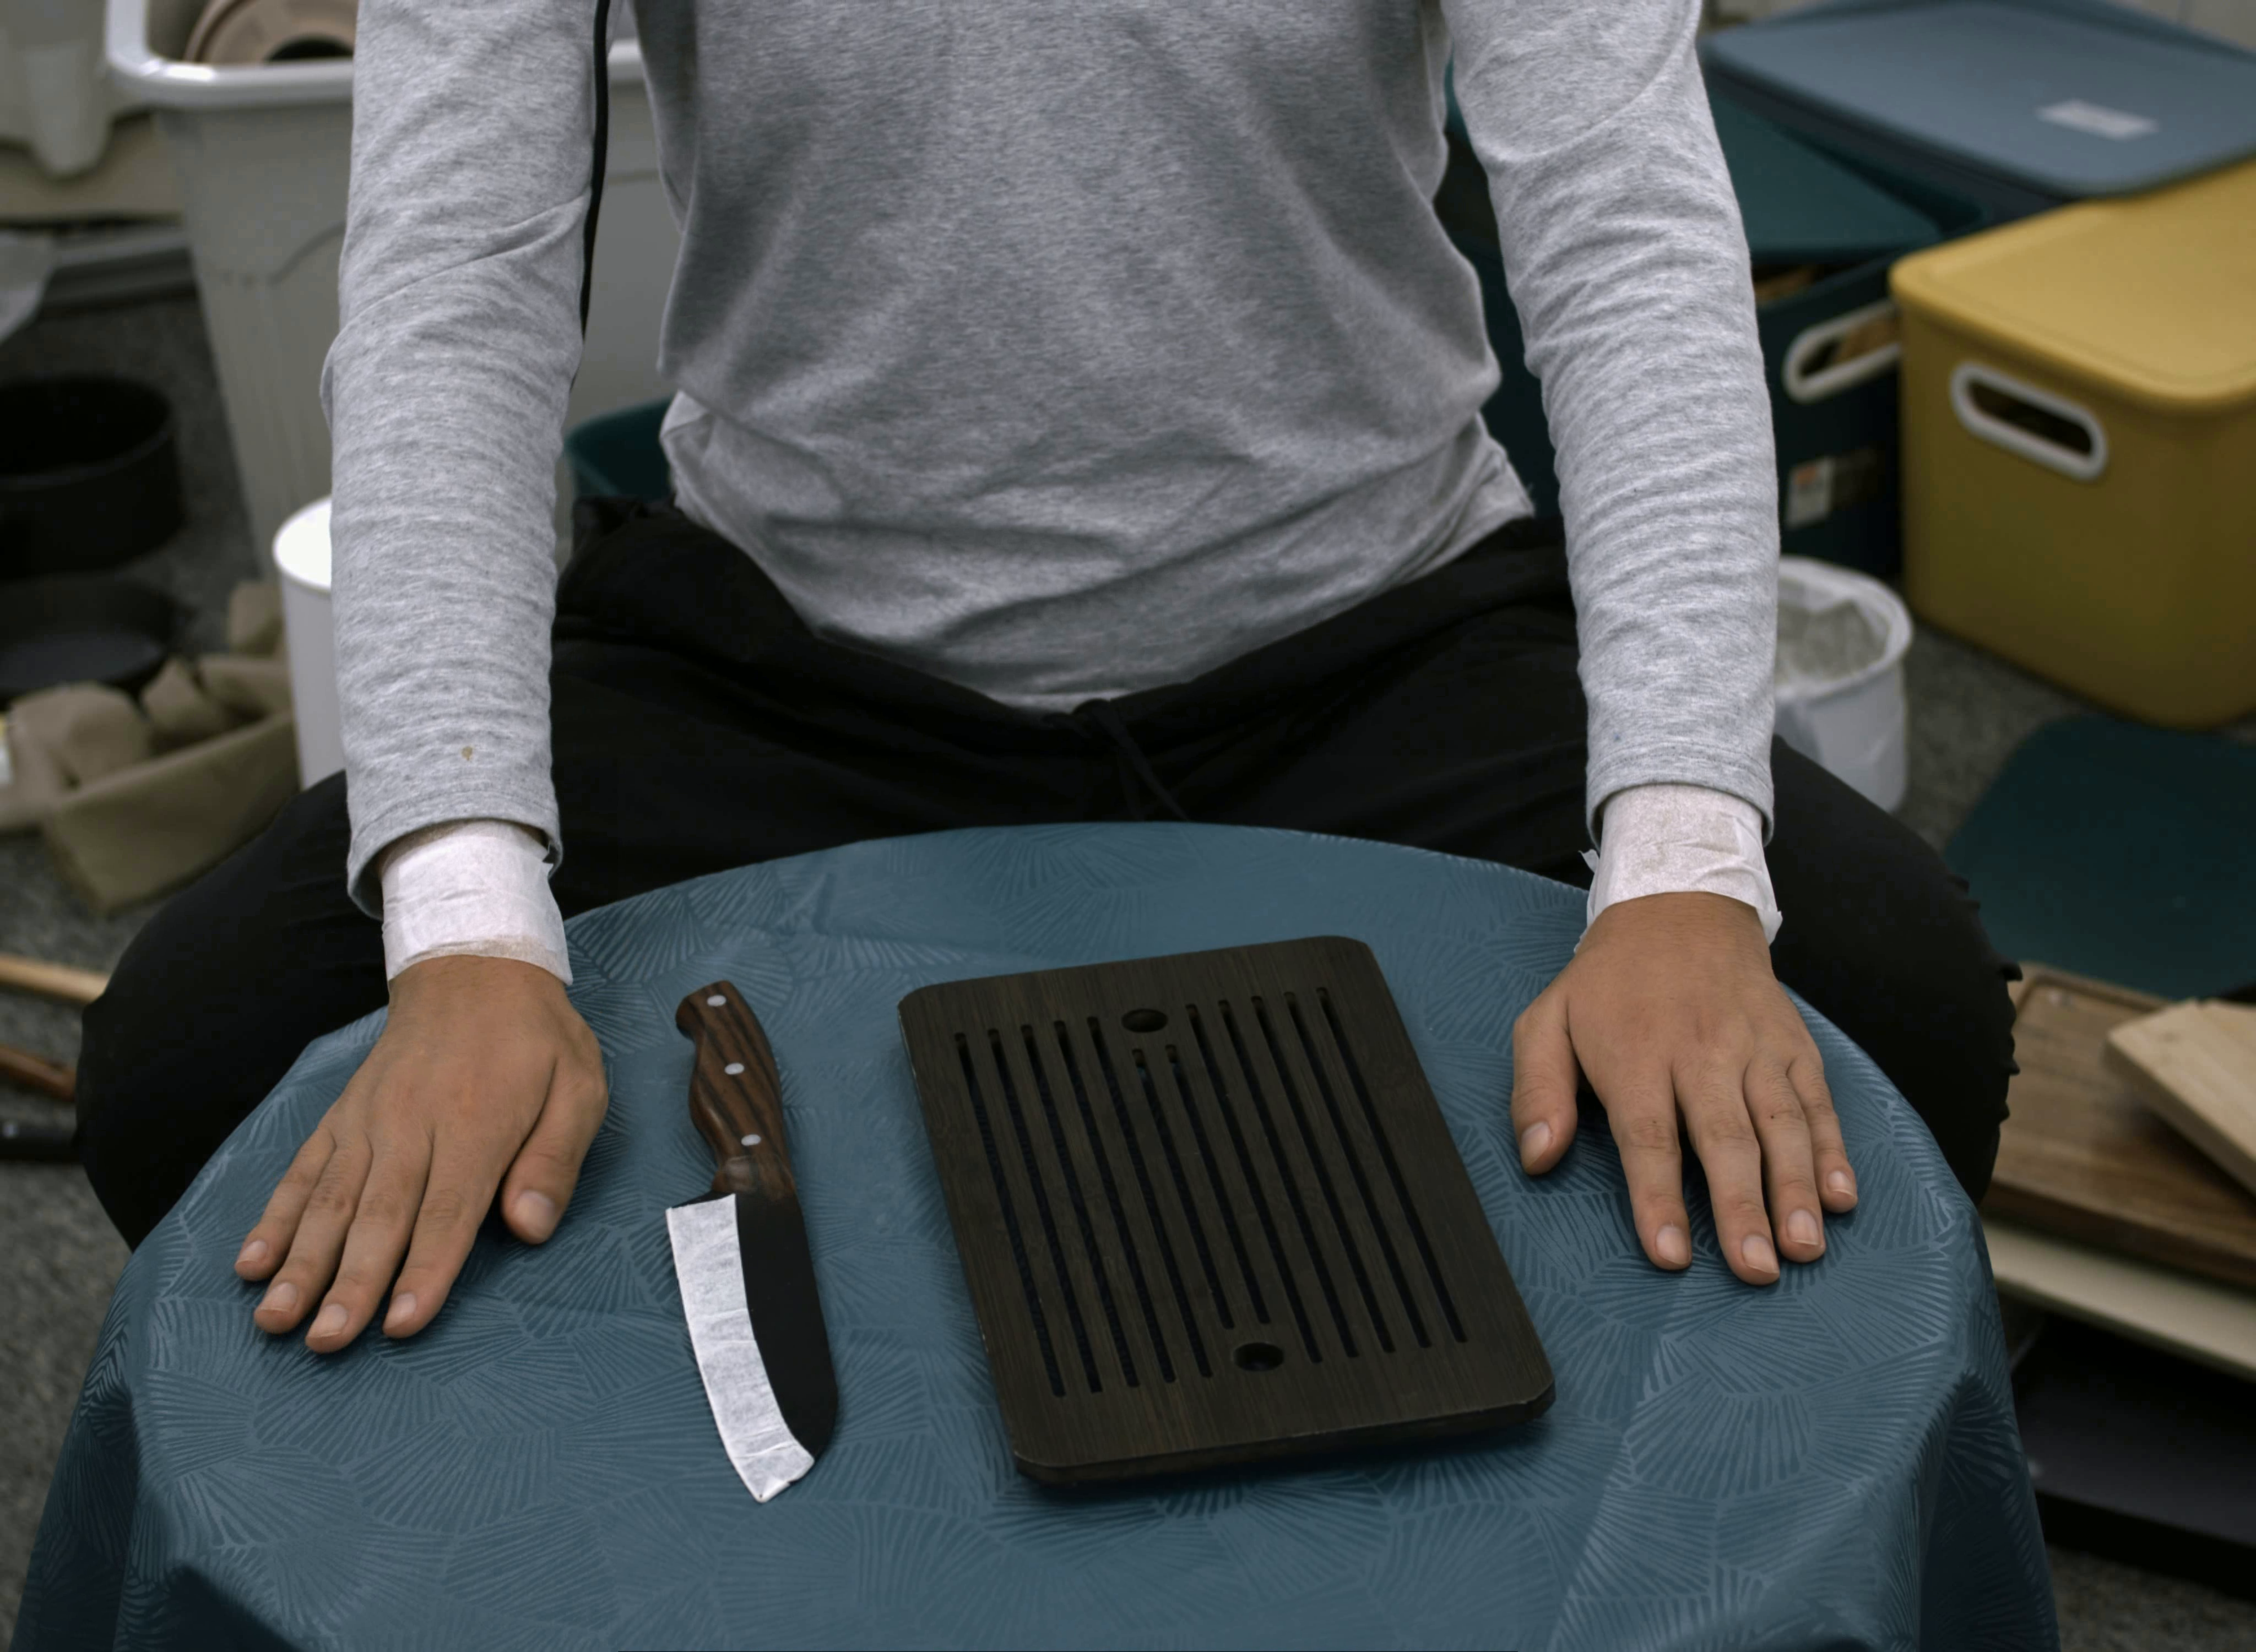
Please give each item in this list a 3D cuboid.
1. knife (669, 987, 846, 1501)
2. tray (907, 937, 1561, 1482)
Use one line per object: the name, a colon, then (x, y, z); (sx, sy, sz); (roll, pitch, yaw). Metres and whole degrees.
knife: (-0.125, 0.134, 1.833); (0.050, 0.020, 0.293); (-10, 30, -3)
tray: (0.028, 0.122, 1.839); (0.170, 0.018, 0.310); (-7, 27, -7)
